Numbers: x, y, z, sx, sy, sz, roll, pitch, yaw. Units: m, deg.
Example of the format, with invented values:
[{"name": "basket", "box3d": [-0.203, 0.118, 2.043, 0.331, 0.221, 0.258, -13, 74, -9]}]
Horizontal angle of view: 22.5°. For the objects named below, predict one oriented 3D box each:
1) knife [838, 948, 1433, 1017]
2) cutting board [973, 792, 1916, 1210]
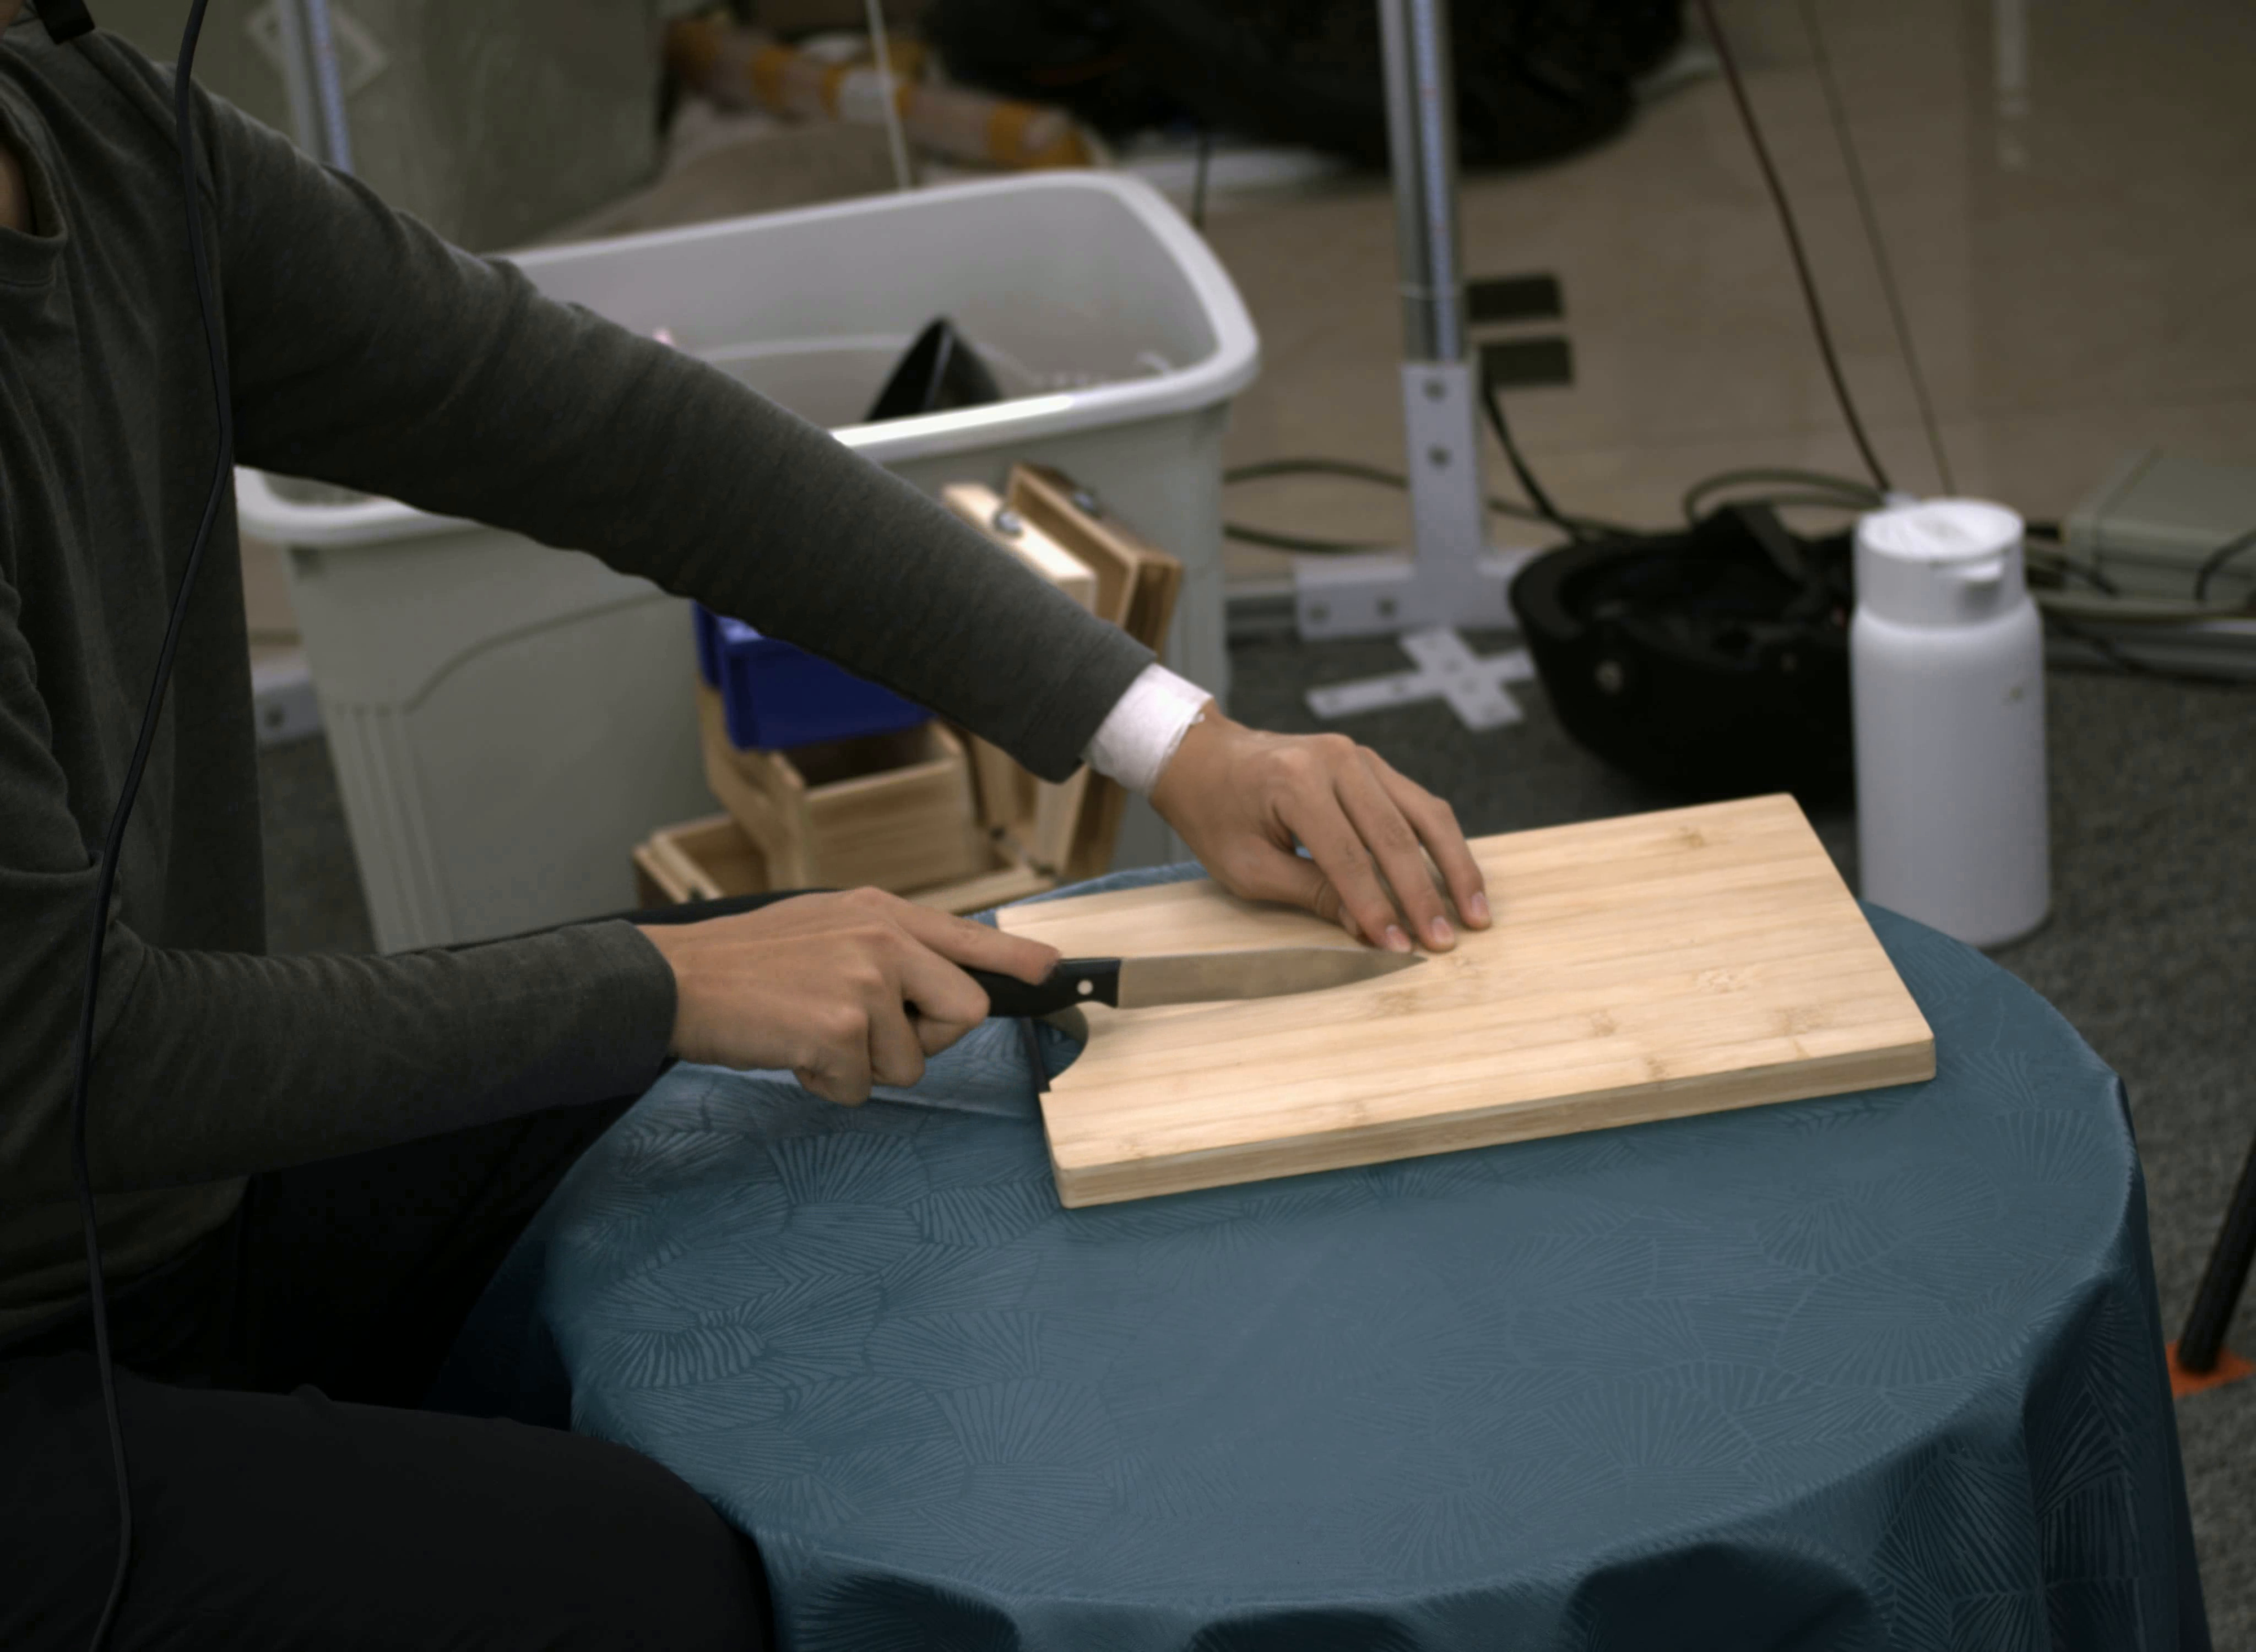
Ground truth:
[{"name": "knife", "box3d": [0.004, 0.060, 2.234, 0.238, 0.025, 0.016, -2, 22, -9]}, {"name": "cutting board", "box3d": [0.121, 0.067, 2.259, 0.348, 0.024, 0.247, -9, 24, -5]}]
